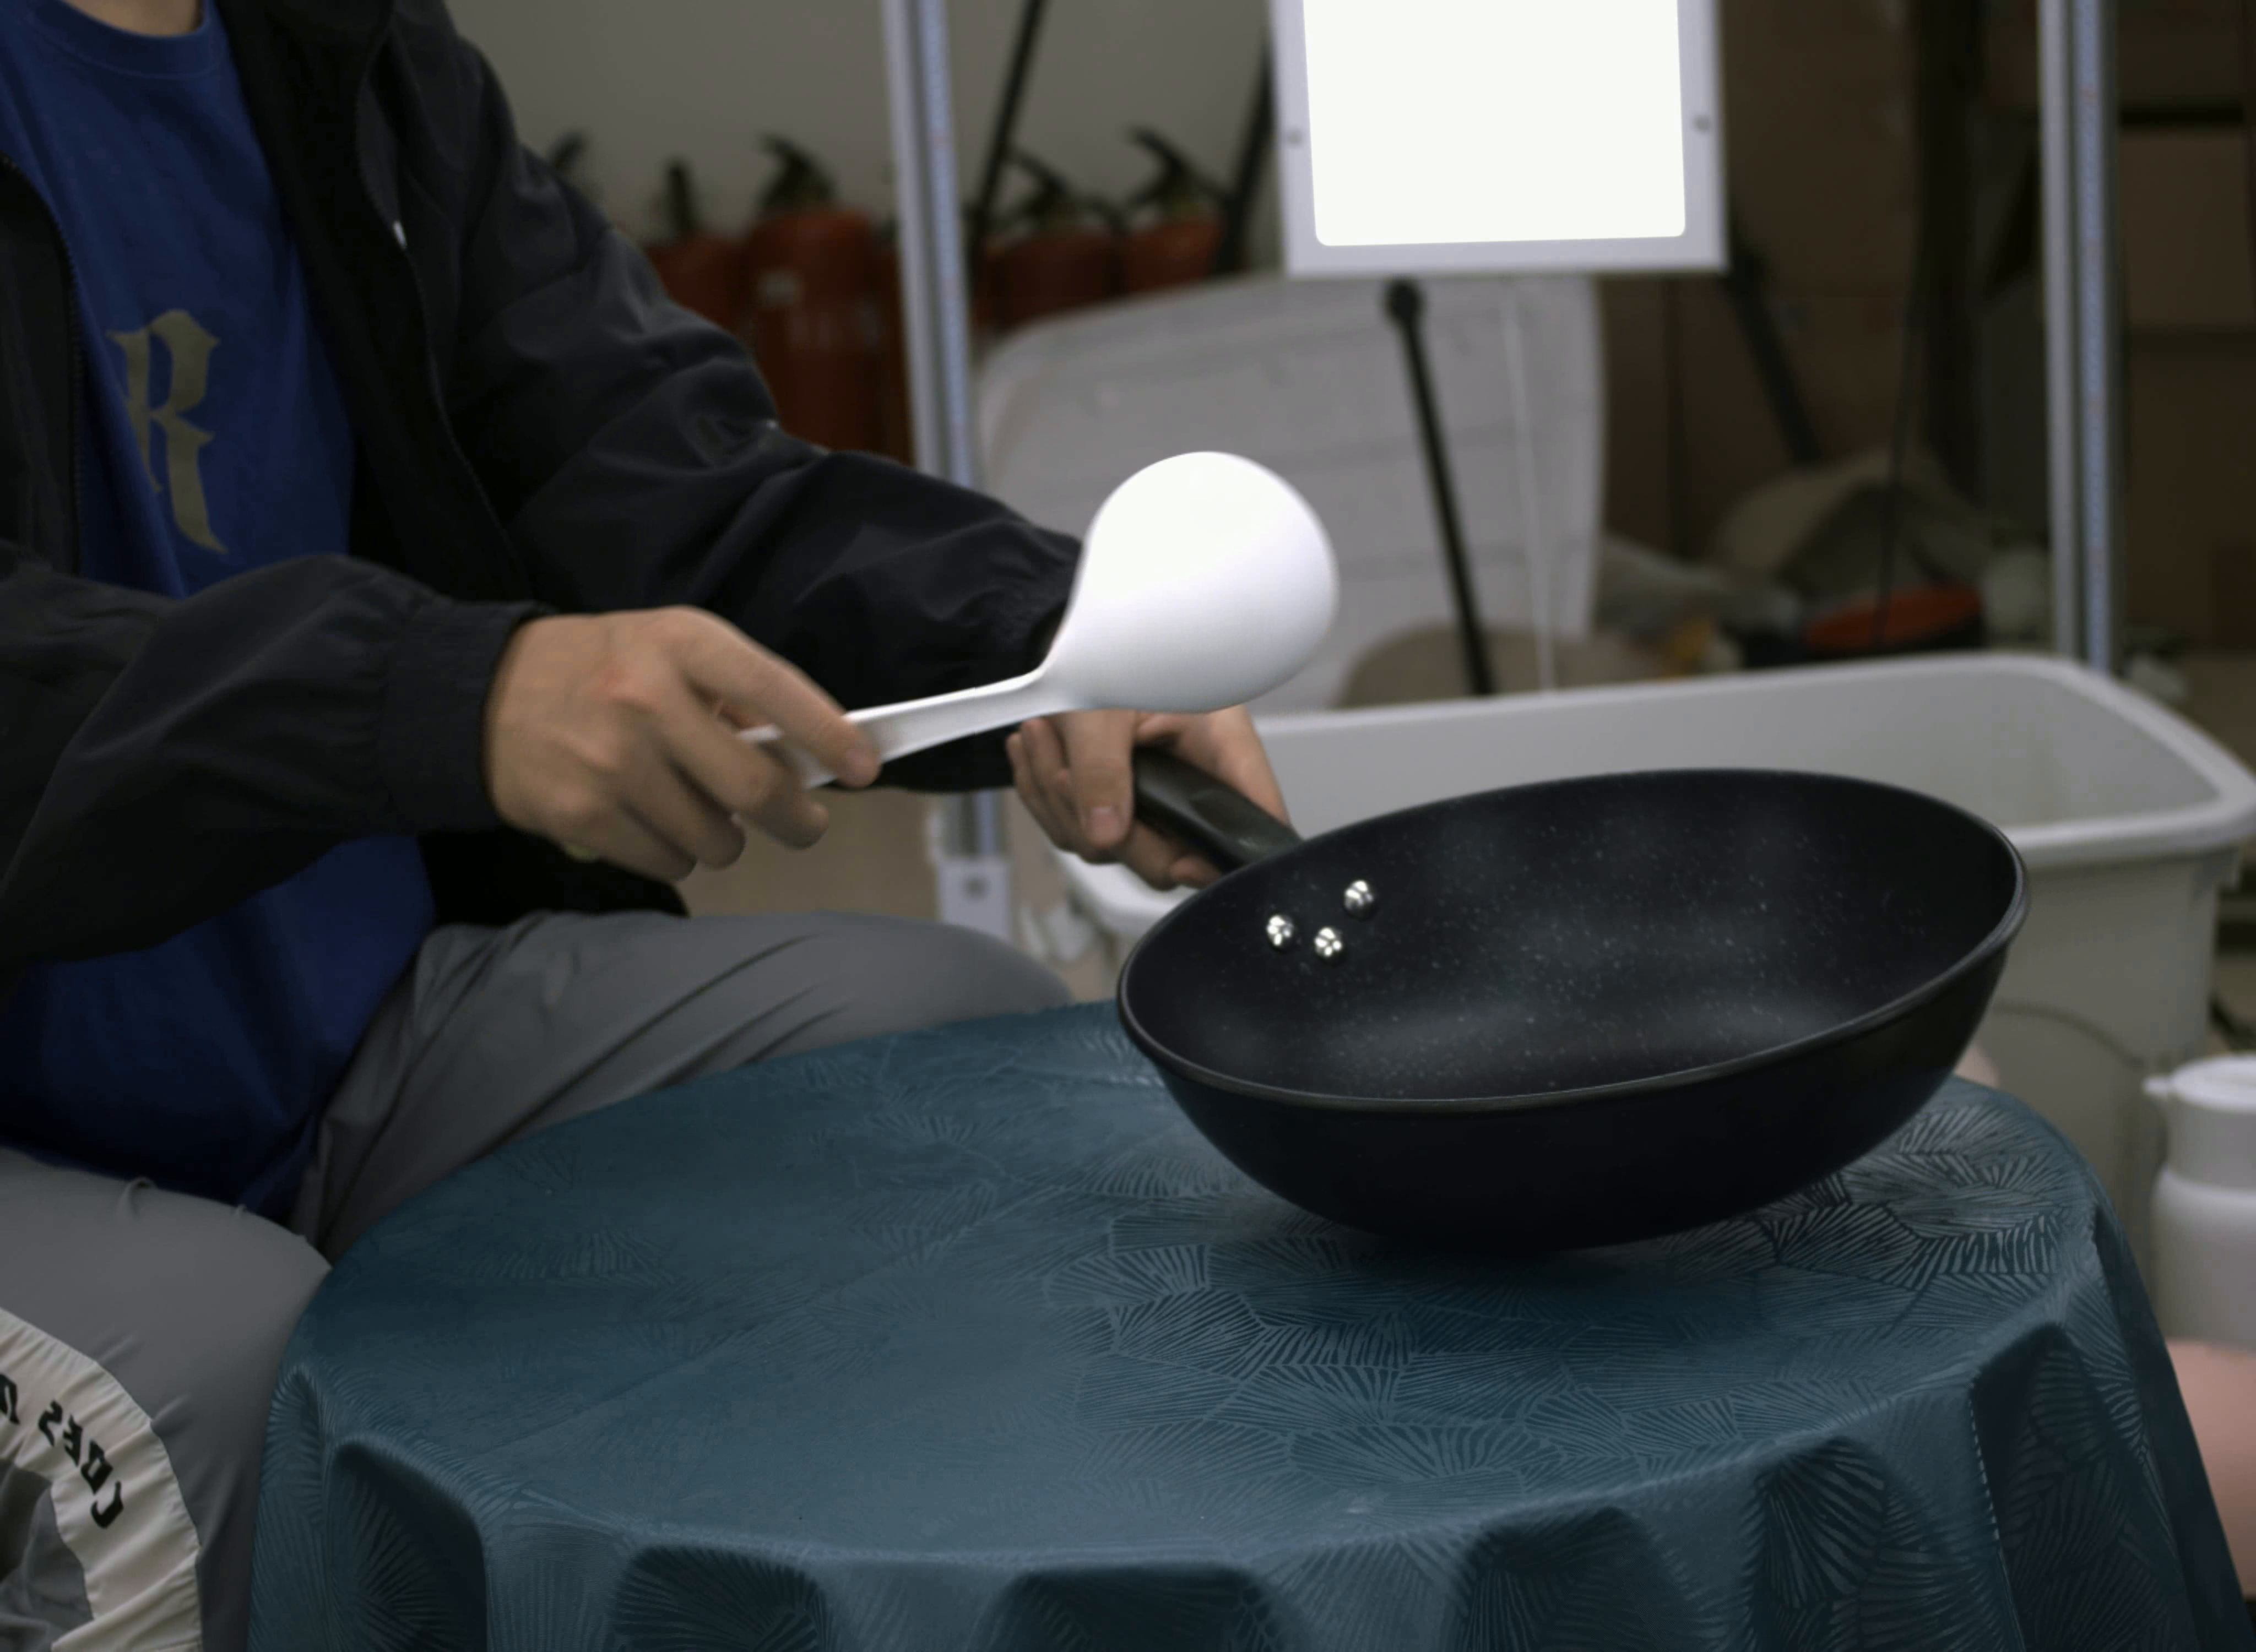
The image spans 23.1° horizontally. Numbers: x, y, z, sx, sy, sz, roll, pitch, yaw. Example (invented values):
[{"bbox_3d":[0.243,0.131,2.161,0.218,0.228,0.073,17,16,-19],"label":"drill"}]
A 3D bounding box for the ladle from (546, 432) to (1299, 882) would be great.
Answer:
[{"bbox_3d":[-0.074,-0.048,1.800,0.299,0.089,0.069,-19,41,39],"label":"ladle"}]

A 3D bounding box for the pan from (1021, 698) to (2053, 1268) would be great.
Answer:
[{"bbox_3d":[0.111,0.050,1.912,0.303,0.112,0.486,-19,21,-31],"label":"pan"}]
